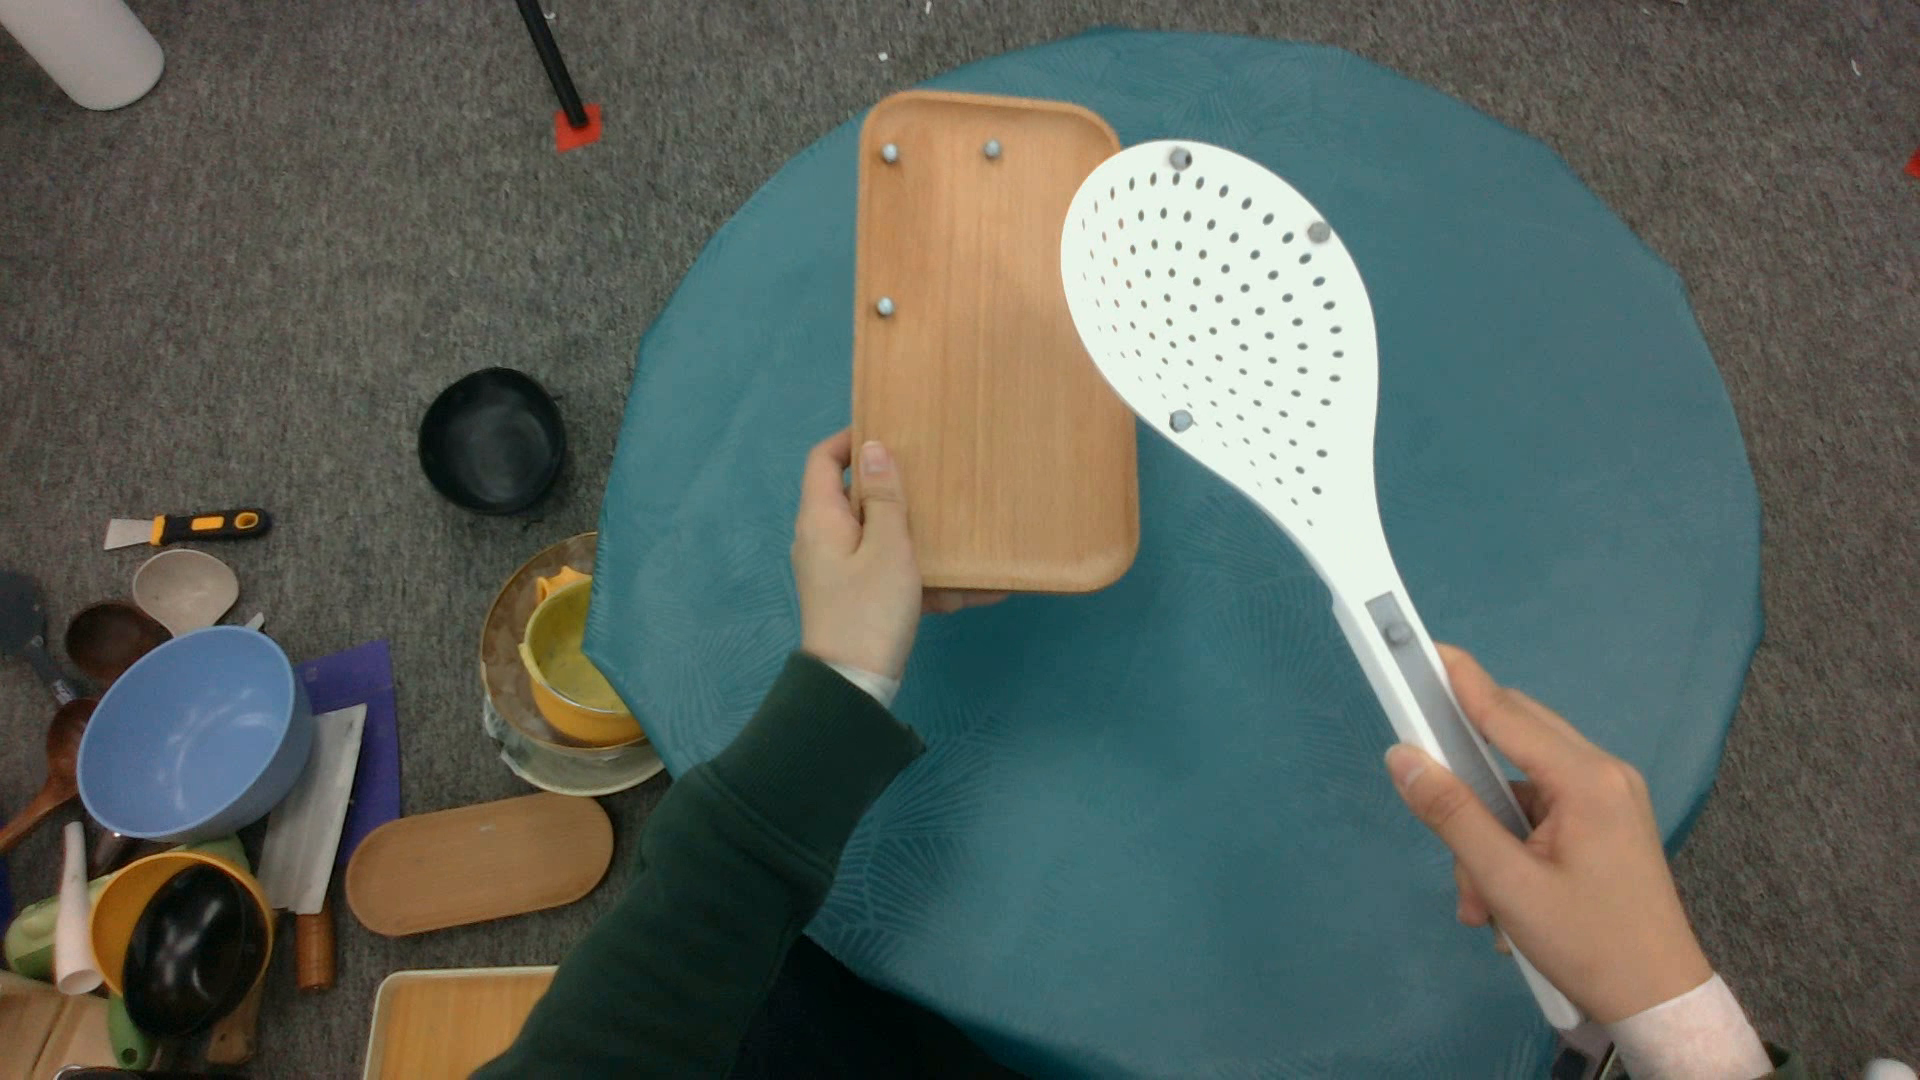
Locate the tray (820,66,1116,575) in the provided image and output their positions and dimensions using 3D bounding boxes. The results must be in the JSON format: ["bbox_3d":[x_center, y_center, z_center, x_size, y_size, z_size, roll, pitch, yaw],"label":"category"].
[{"bbox_3d":[0.001,-0.104,0.625,0.130,0.023,0.251,1,72,-8],"label":"tray"}]

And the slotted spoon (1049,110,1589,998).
[{"bbox_3d":[0.137,-0.003,0.505,0.136,0.045,0.350,-20,75,-28],"label":"slotted spoon"}]
